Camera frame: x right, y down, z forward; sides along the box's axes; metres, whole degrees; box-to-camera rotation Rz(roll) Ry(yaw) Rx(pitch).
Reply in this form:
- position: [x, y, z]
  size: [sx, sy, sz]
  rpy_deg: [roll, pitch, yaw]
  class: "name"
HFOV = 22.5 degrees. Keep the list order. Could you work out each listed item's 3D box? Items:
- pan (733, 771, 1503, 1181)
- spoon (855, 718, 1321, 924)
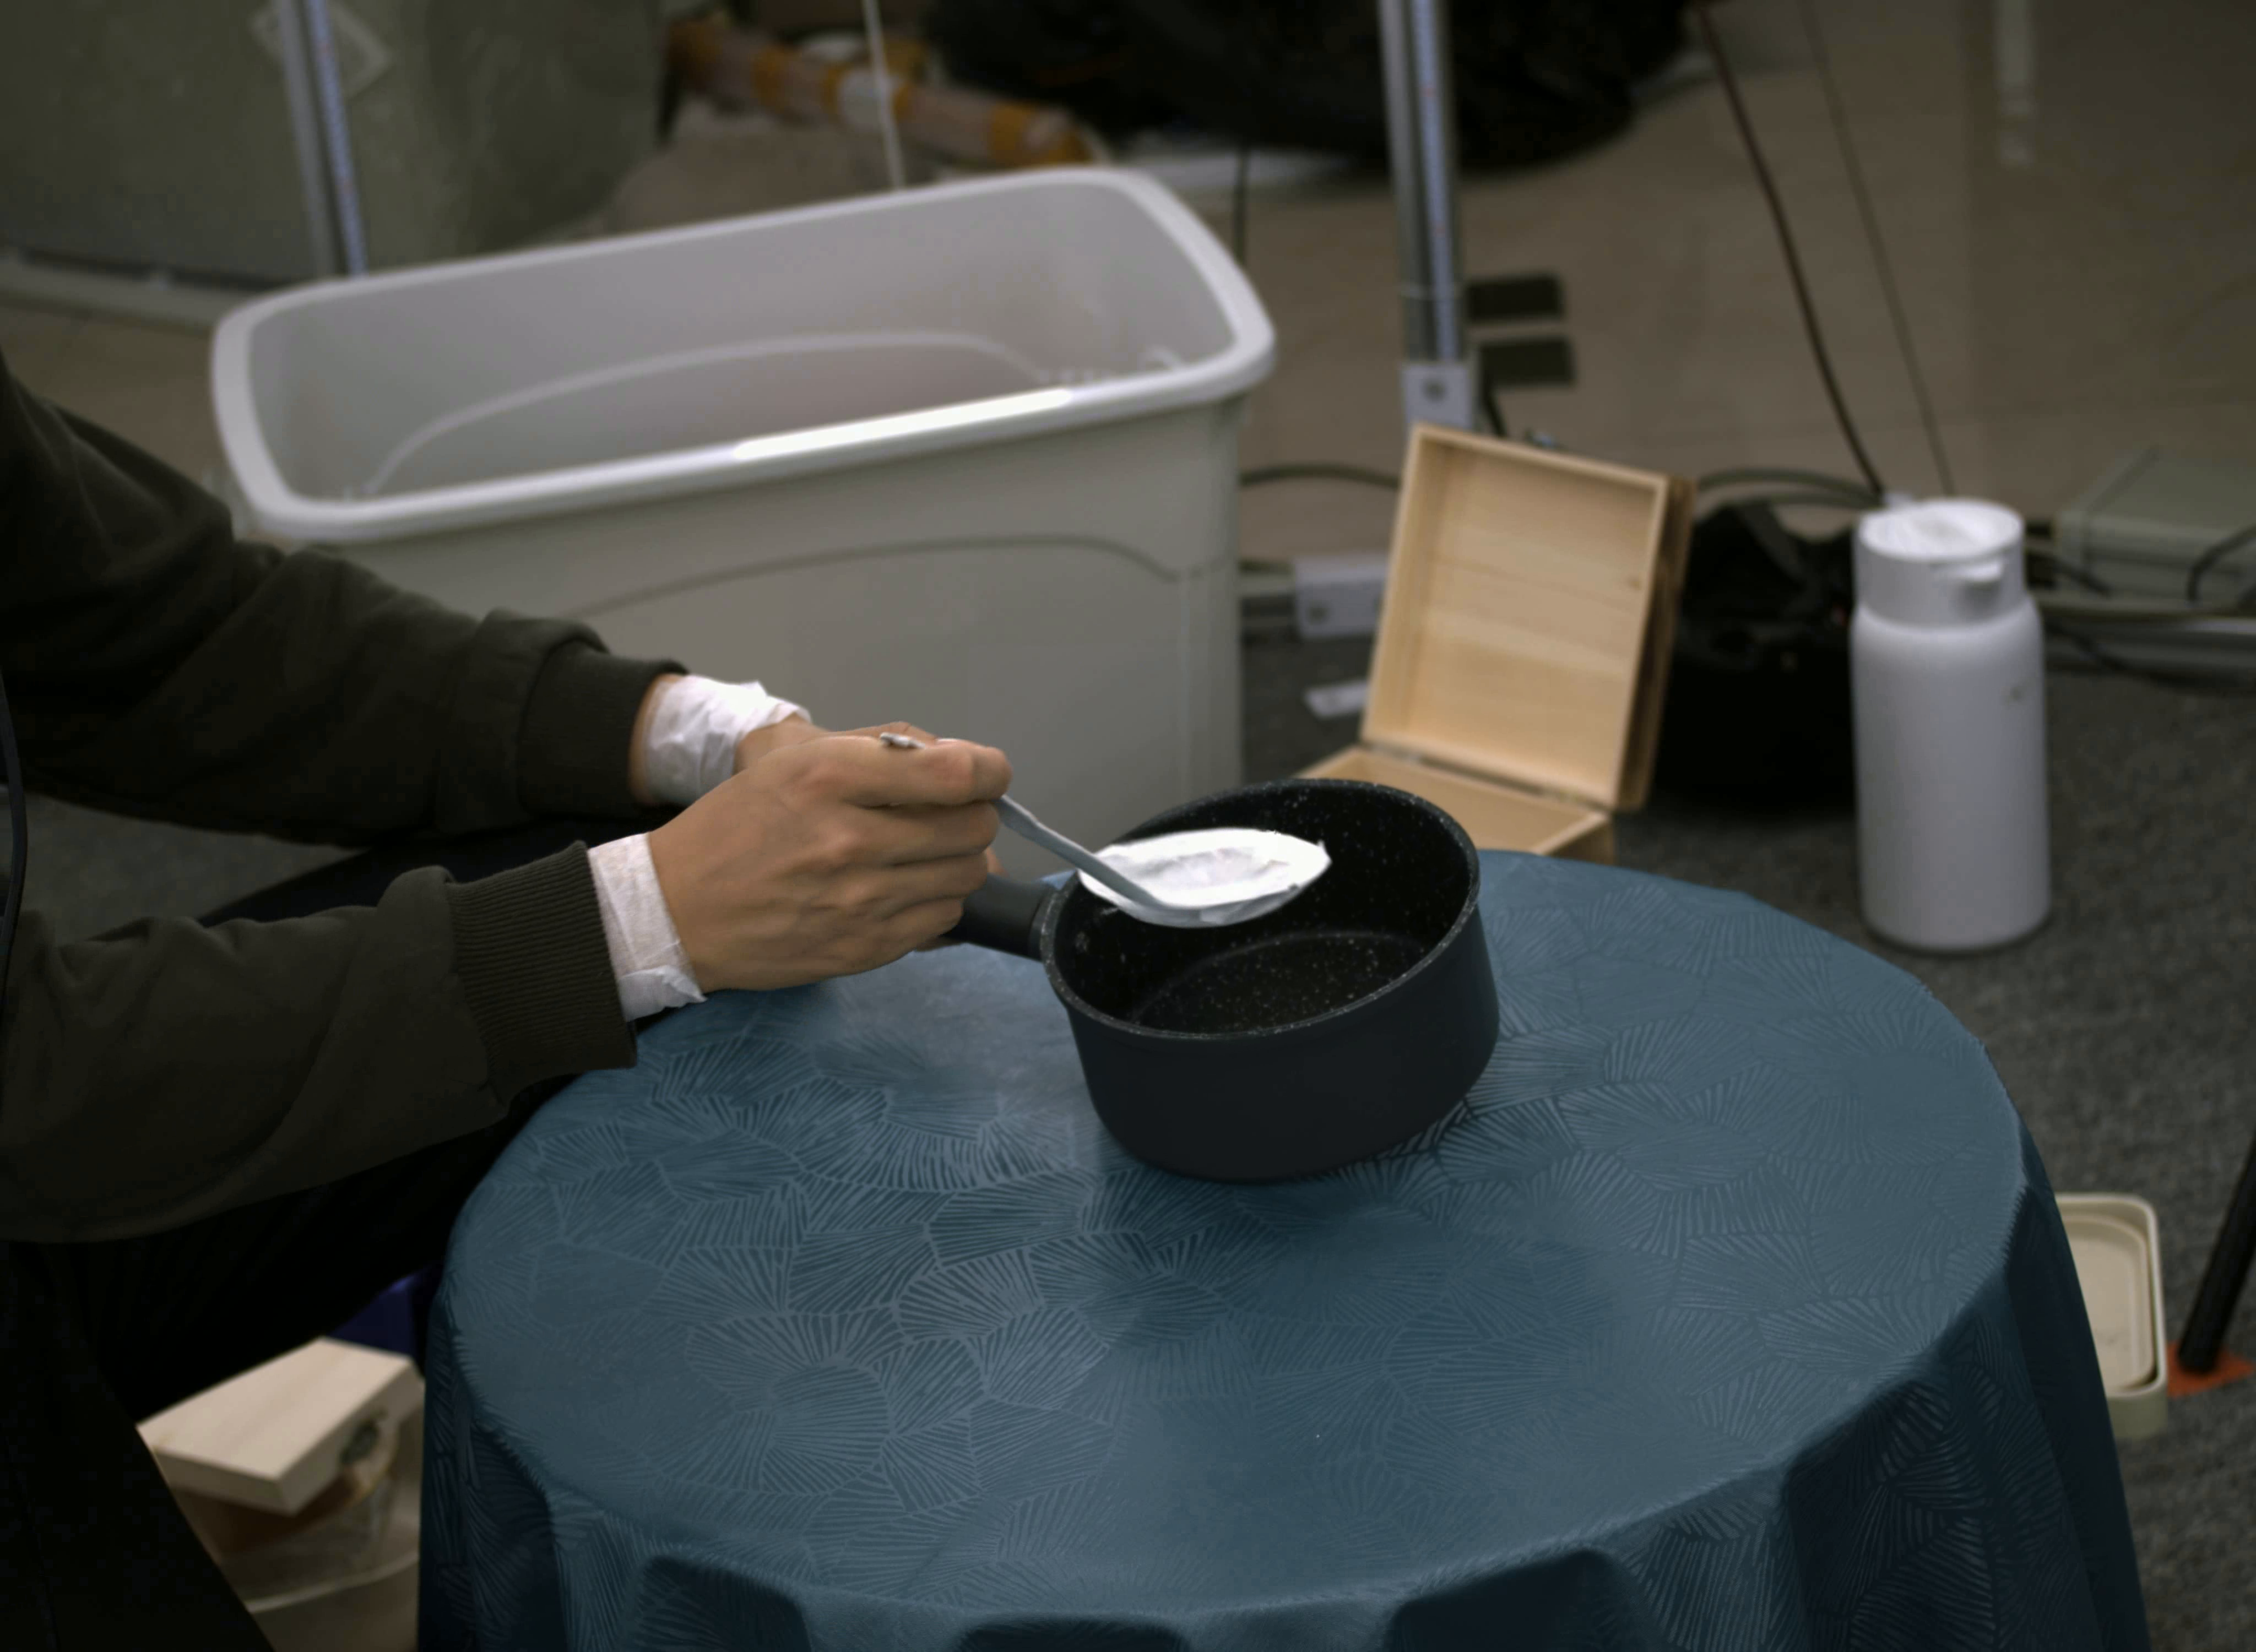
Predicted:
- position: [-0.009, 0.048, 2.223]
  size: [0.327, 0.088, 0.169]
  rpy_deg: [9, 39, 30]
  class: "pan"
- position: [-0.023, -0.016, 2.030]
  size: [0.100, 0.059, 0.280]
  rpy_deg: [4, -16, 30]
  class: "spoon"
